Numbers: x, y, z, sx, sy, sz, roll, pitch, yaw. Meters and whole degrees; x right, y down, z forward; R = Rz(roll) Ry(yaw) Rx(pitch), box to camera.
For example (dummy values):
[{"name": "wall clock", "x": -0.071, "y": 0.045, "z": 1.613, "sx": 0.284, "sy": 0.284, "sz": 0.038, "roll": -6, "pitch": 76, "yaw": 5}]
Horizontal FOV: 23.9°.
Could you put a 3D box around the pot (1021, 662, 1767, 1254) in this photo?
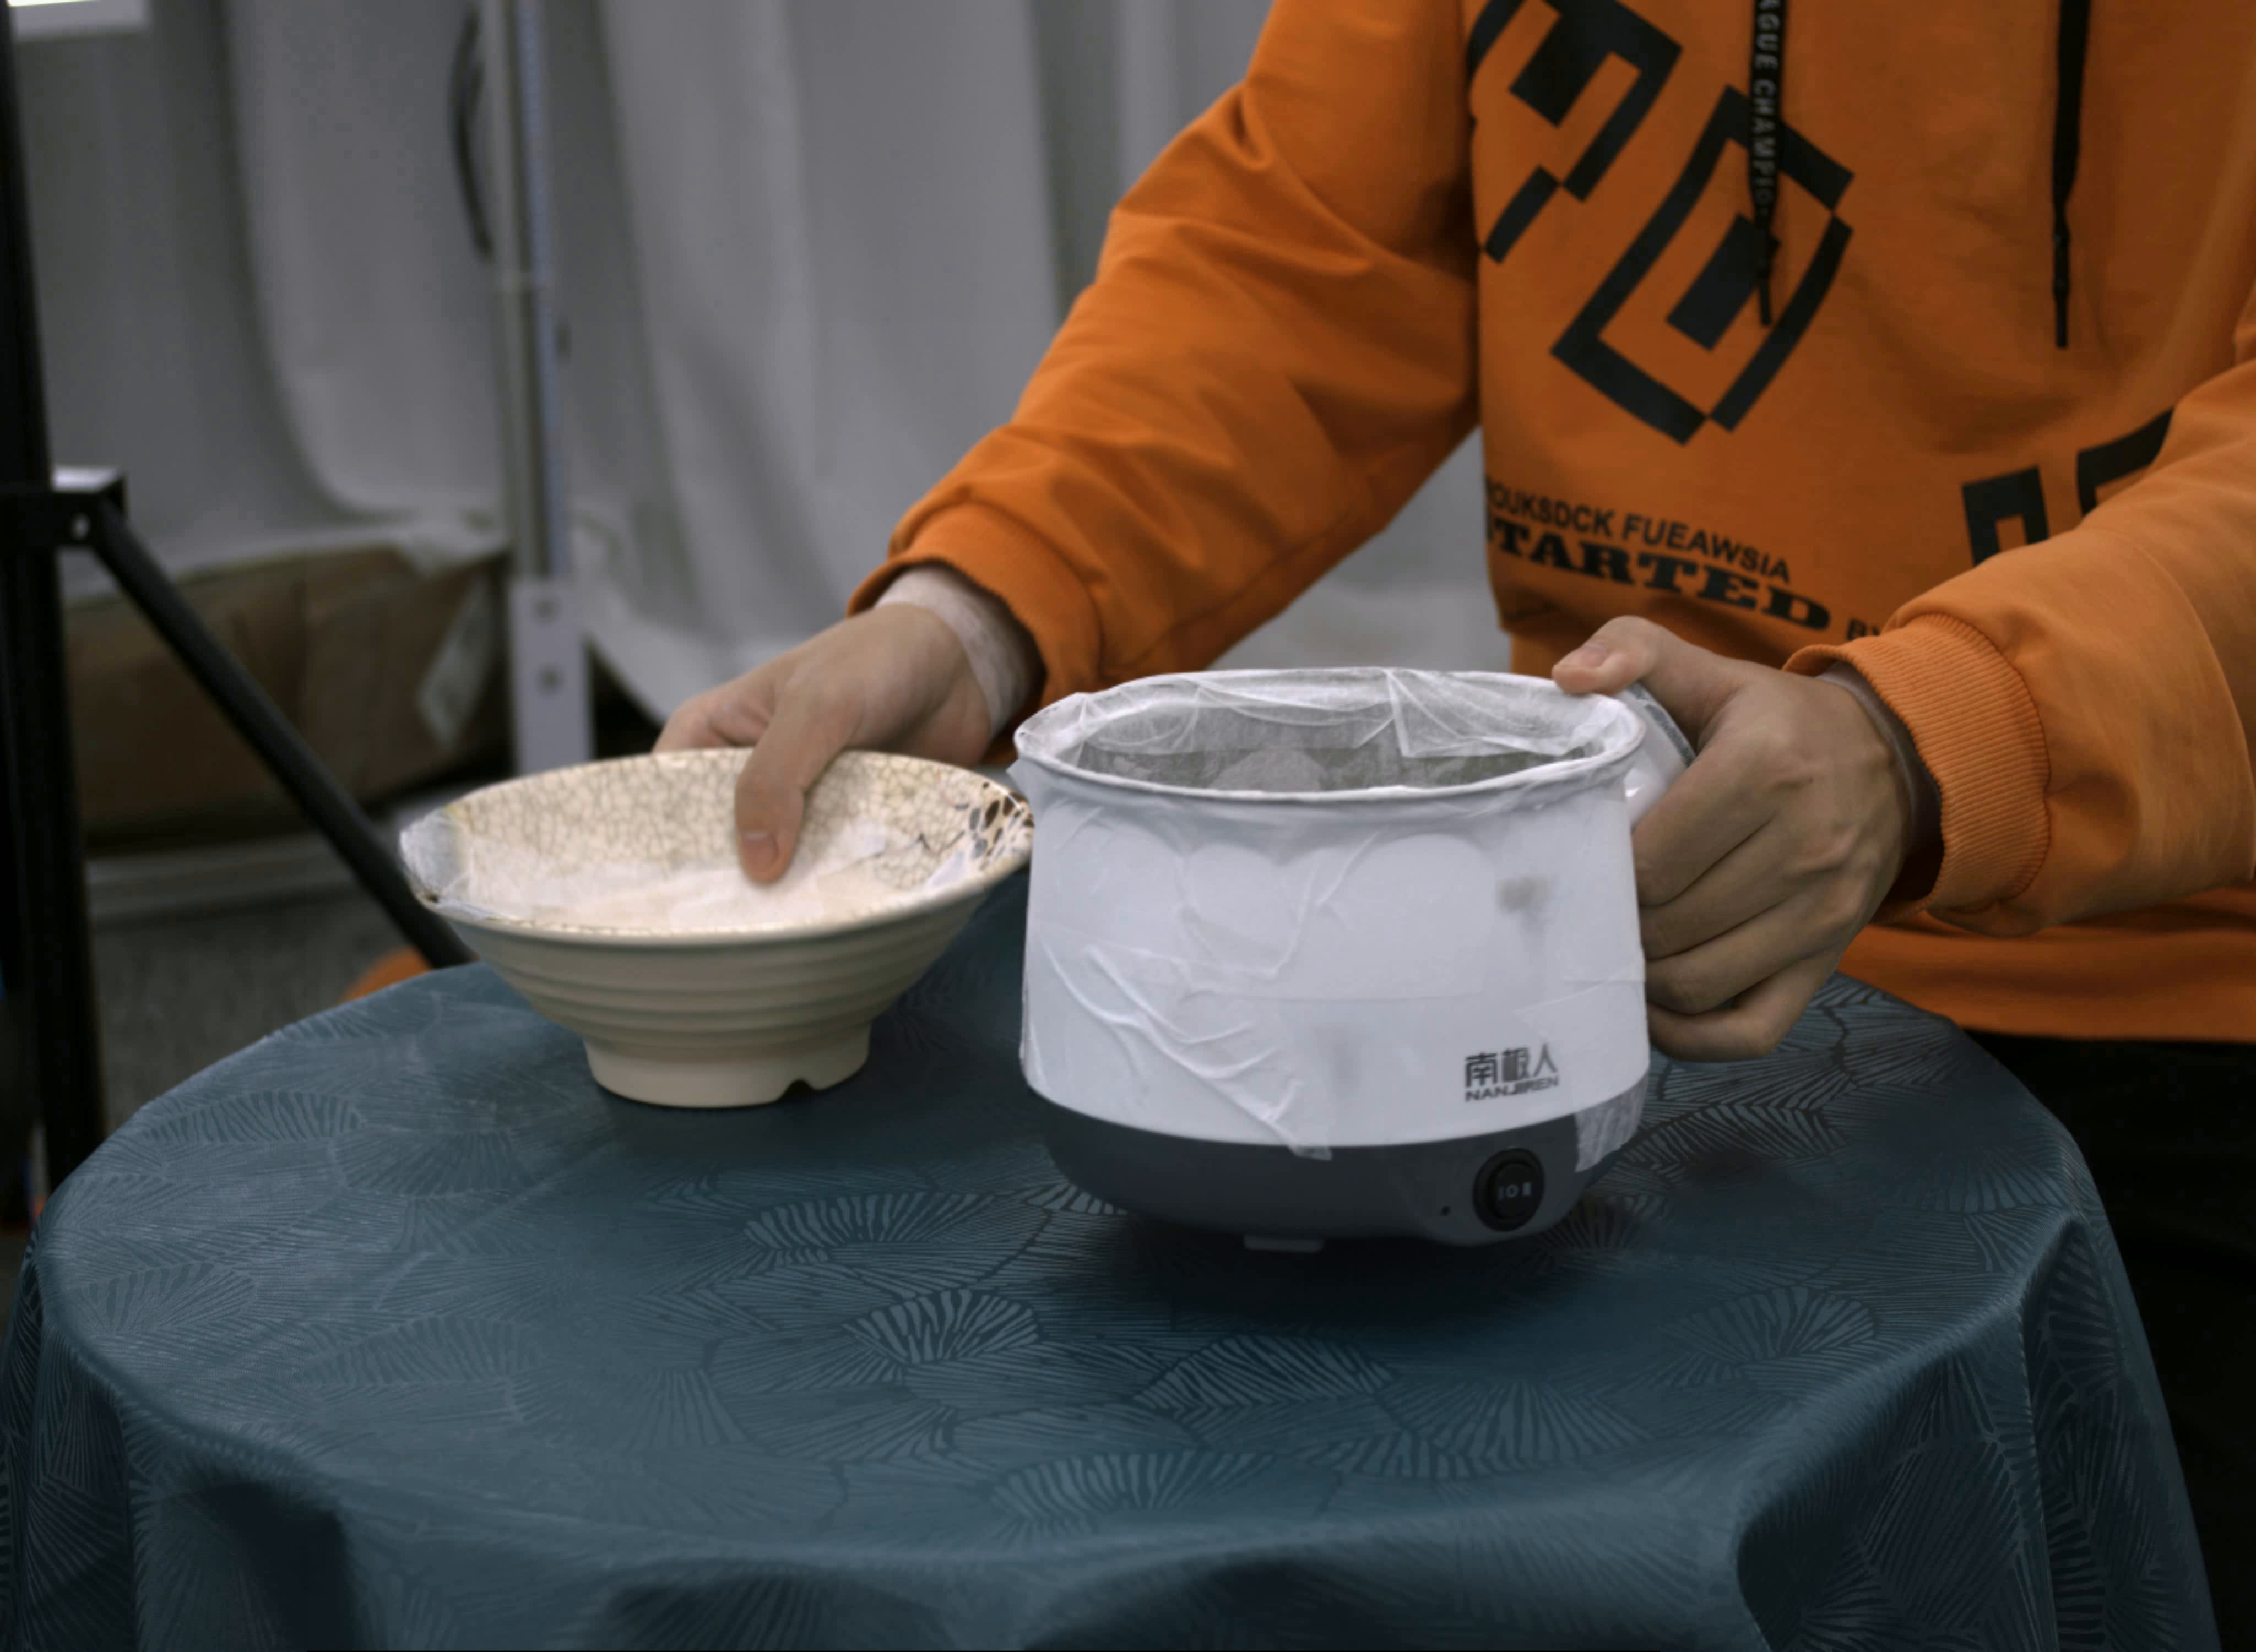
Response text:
[{"name": "pot", "x": 0.082, "y": 0.031, "z": 1.502, "sx": 0.228, "sy": 0.137, "sz": 0.182, "roll": -9, "pitch": 15, "yaw": -31}]

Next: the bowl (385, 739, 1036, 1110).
[{"name": "bowl", "x": -0.131, "y": 0.038, "z": 1.678, "sx": 0.203, "sy": 0.078, "sz": 0.205, "roll": 0, "pitch": 17, "yaw": -1}]
